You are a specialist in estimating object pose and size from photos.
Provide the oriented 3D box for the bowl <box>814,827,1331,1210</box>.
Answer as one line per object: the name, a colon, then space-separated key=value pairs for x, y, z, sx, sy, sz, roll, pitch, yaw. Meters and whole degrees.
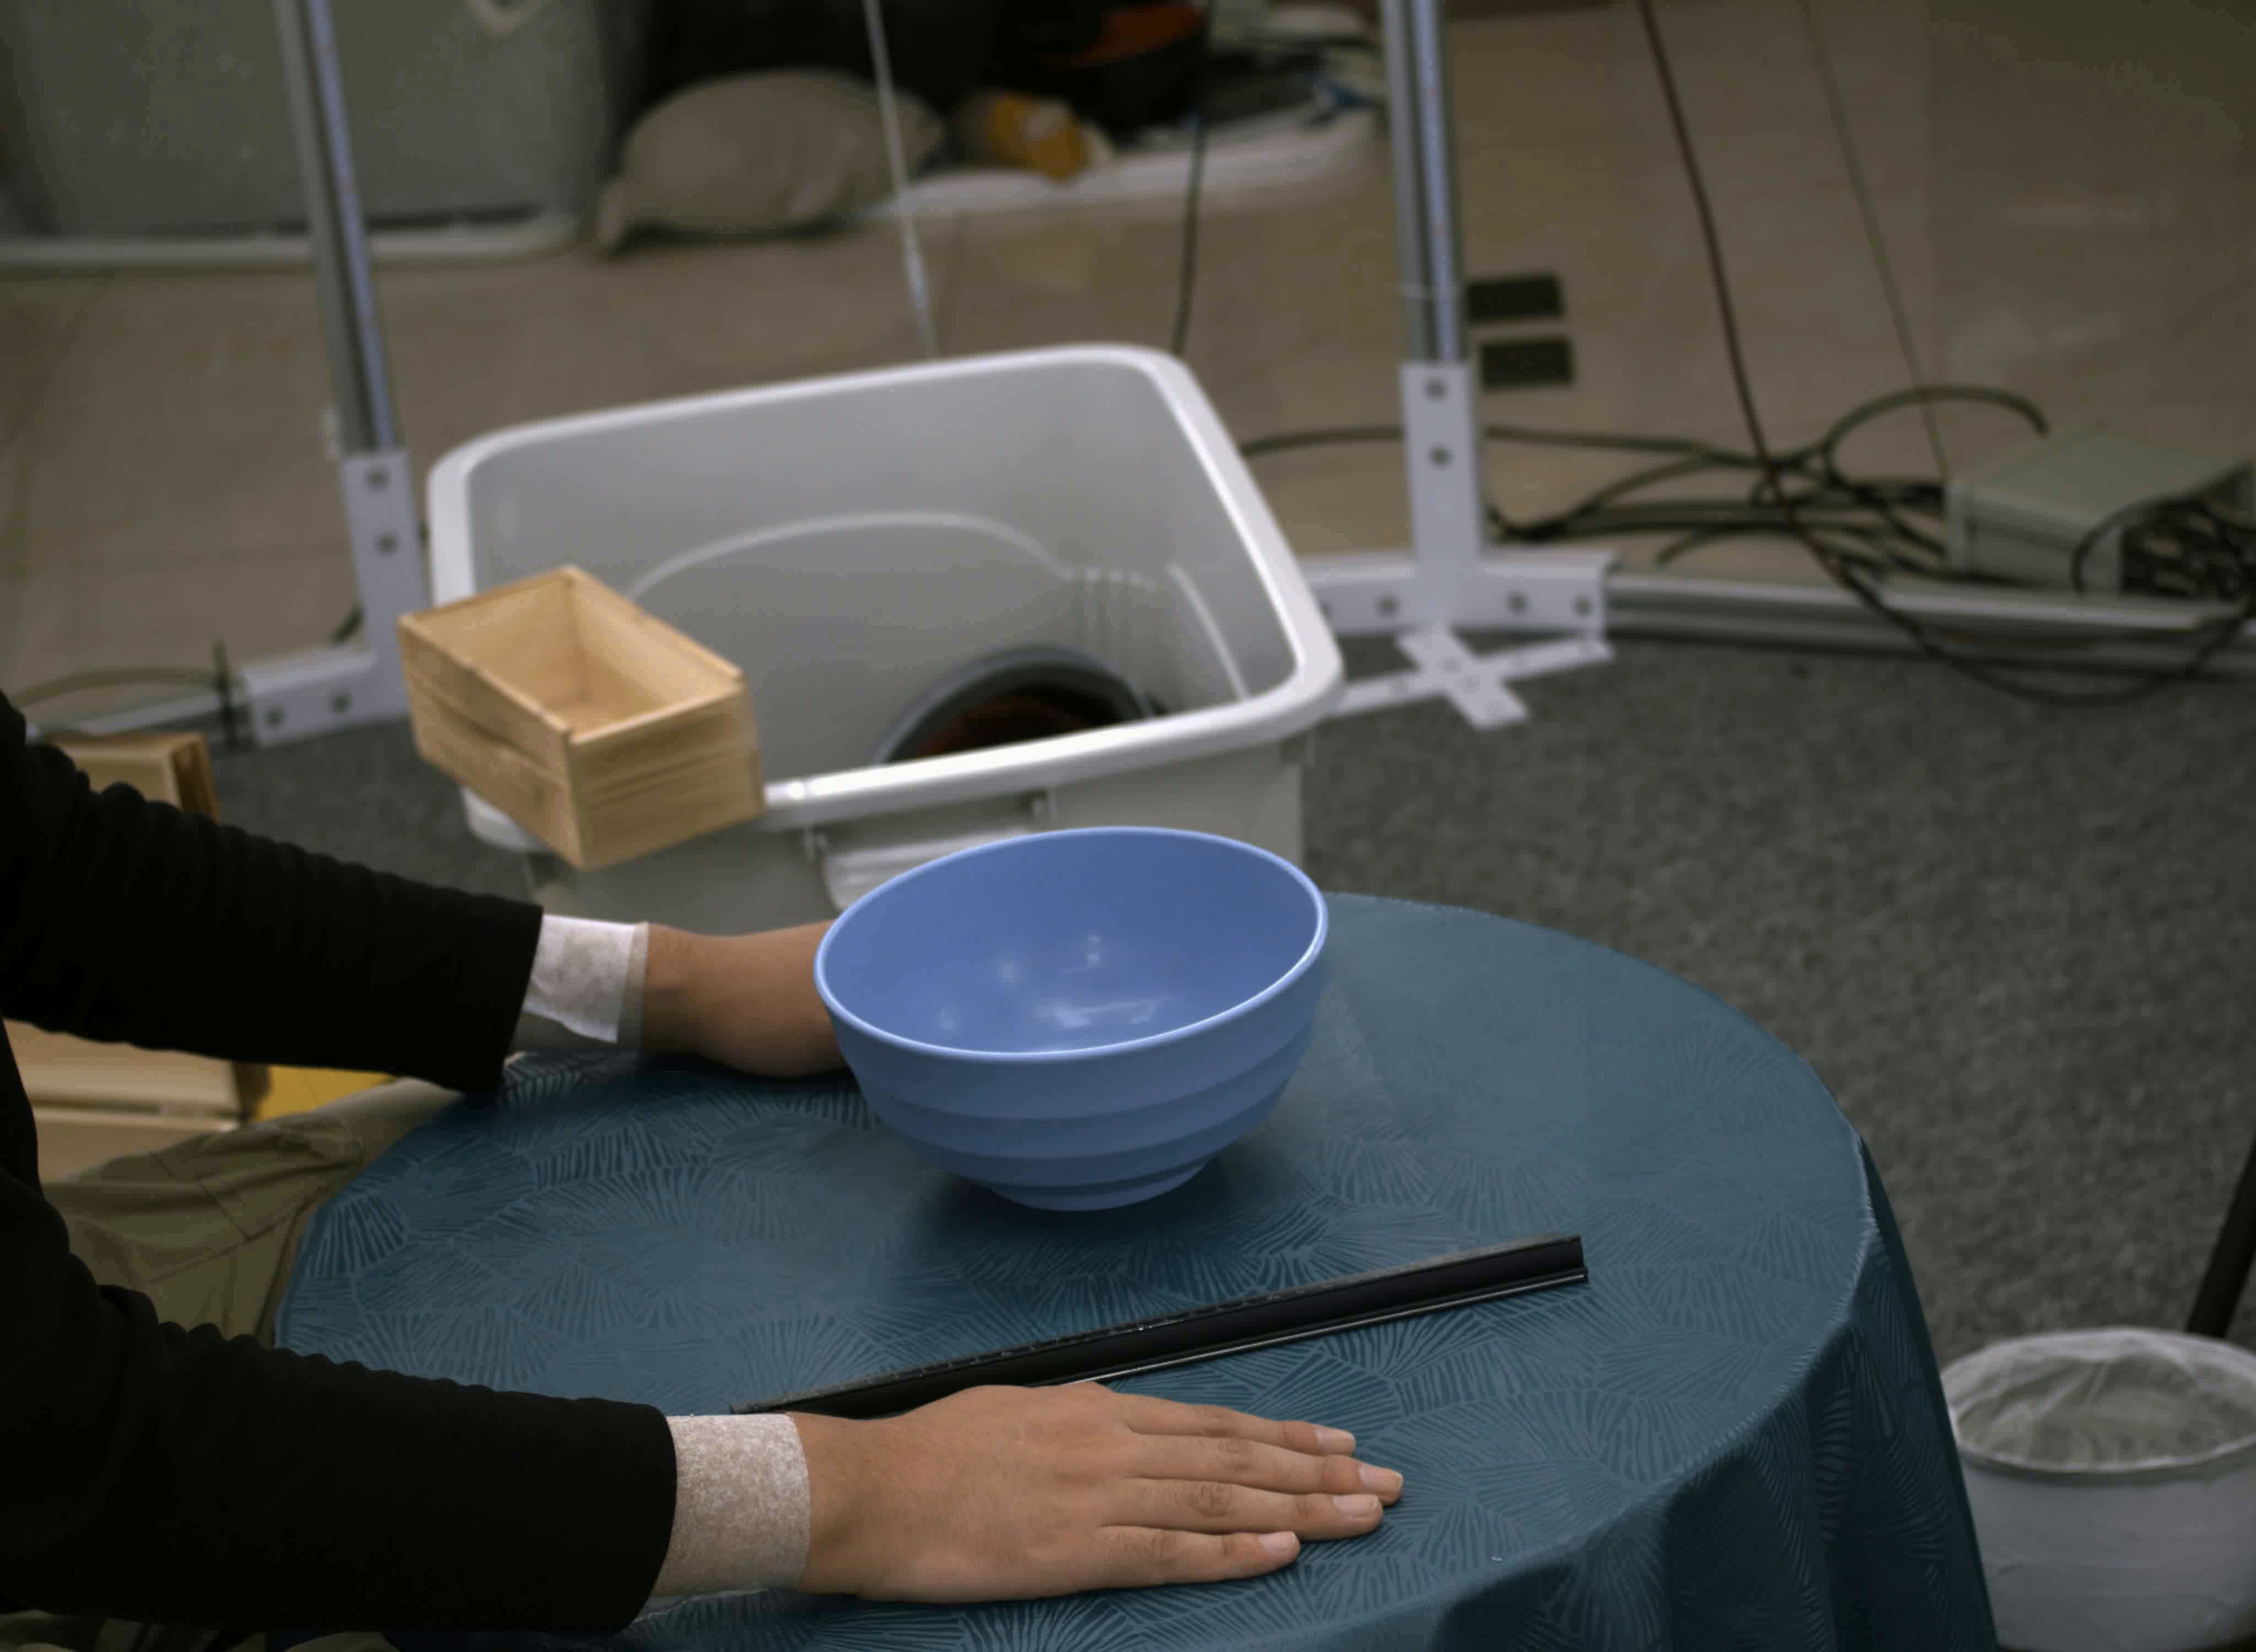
bowl: x=-0.017 y=0.084 z=2.156 sx=0.196 sy=0.097 sz=0.193 roll=-5 pitch=25 yaw=2

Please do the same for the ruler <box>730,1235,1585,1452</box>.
ruler: x=0.011 y=0.179 z=2.041 sx=0.312 sy=0.017 sz=0.039 roll=-11 pitch=21 yaw=-9
